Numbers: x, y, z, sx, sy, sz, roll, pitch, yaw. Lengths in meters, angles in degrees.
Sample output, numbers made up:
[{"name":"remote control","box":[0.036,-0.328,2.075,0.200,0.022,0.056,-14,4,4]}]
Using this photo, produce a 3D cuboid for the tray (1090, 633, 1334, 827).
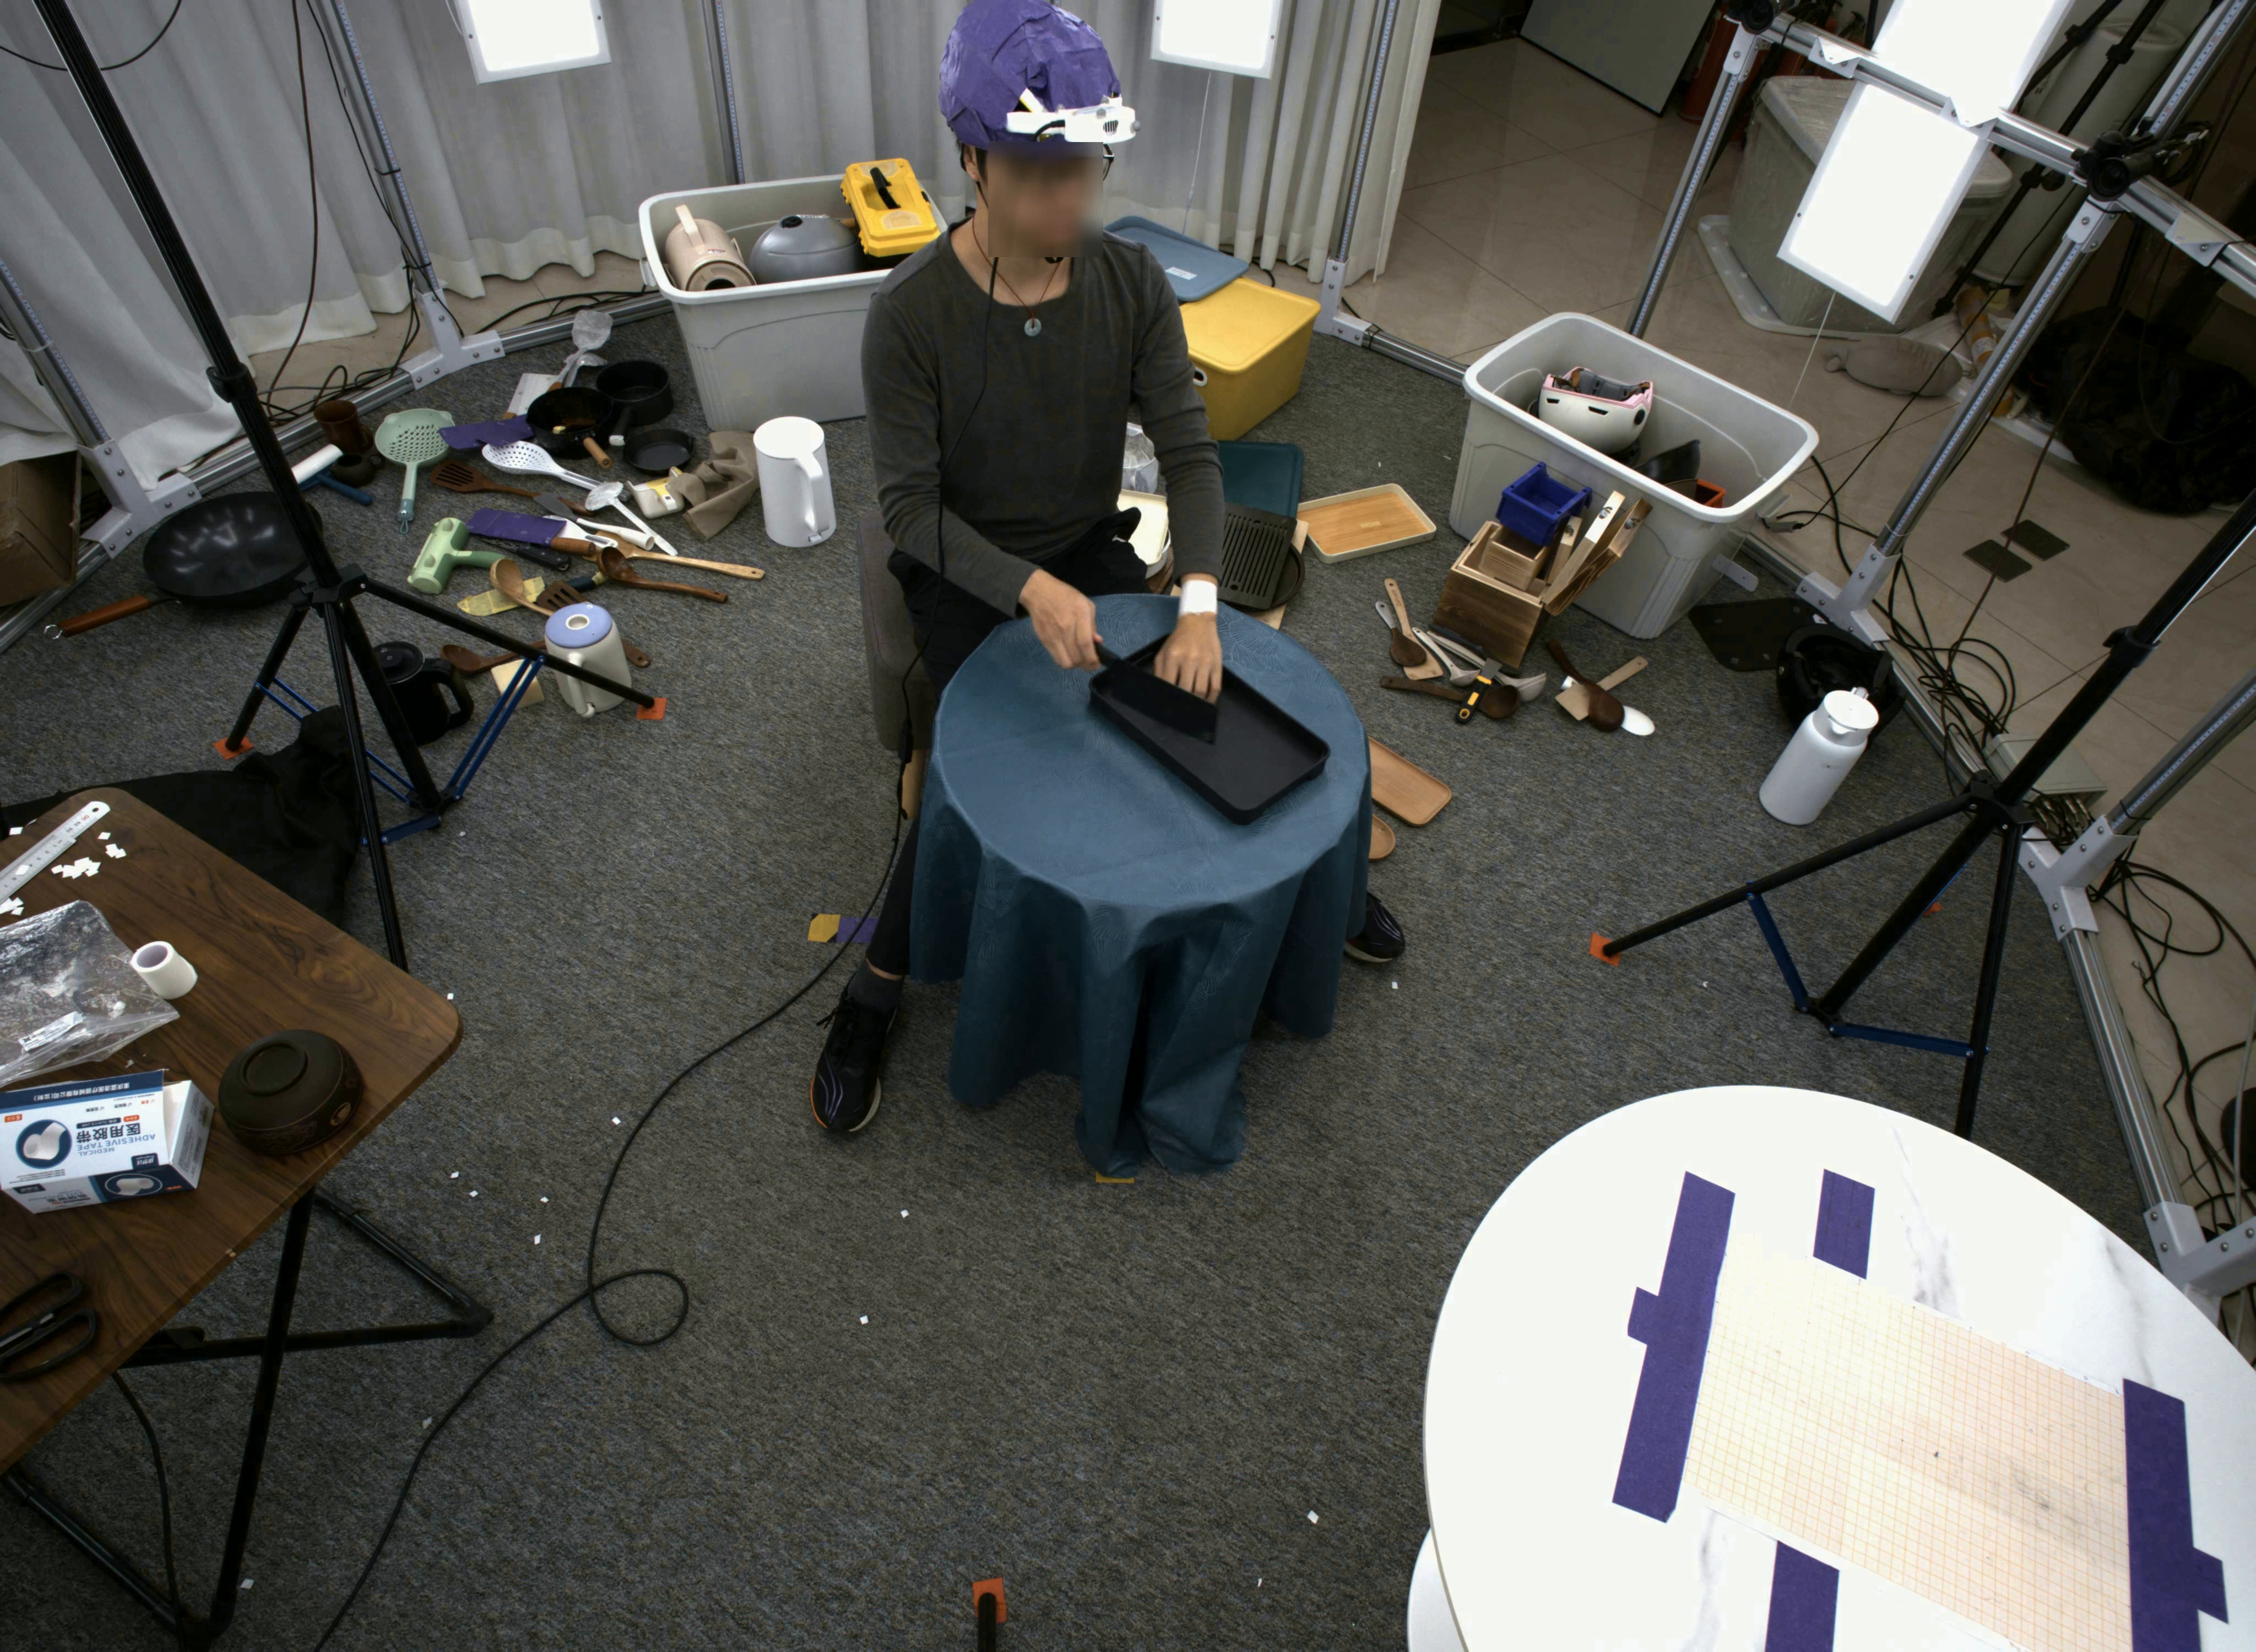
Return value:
[{"name":"tray","box":[0.112,-0.139,1.771,0.186,0.036,0.323,-34,60,-29]}]

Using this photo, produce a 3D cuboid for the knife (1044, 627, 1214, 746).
[{"name":"knife","box":[-0.002,-0.190,1.697,0.307,0.079,0.021,34,43,31]}]
